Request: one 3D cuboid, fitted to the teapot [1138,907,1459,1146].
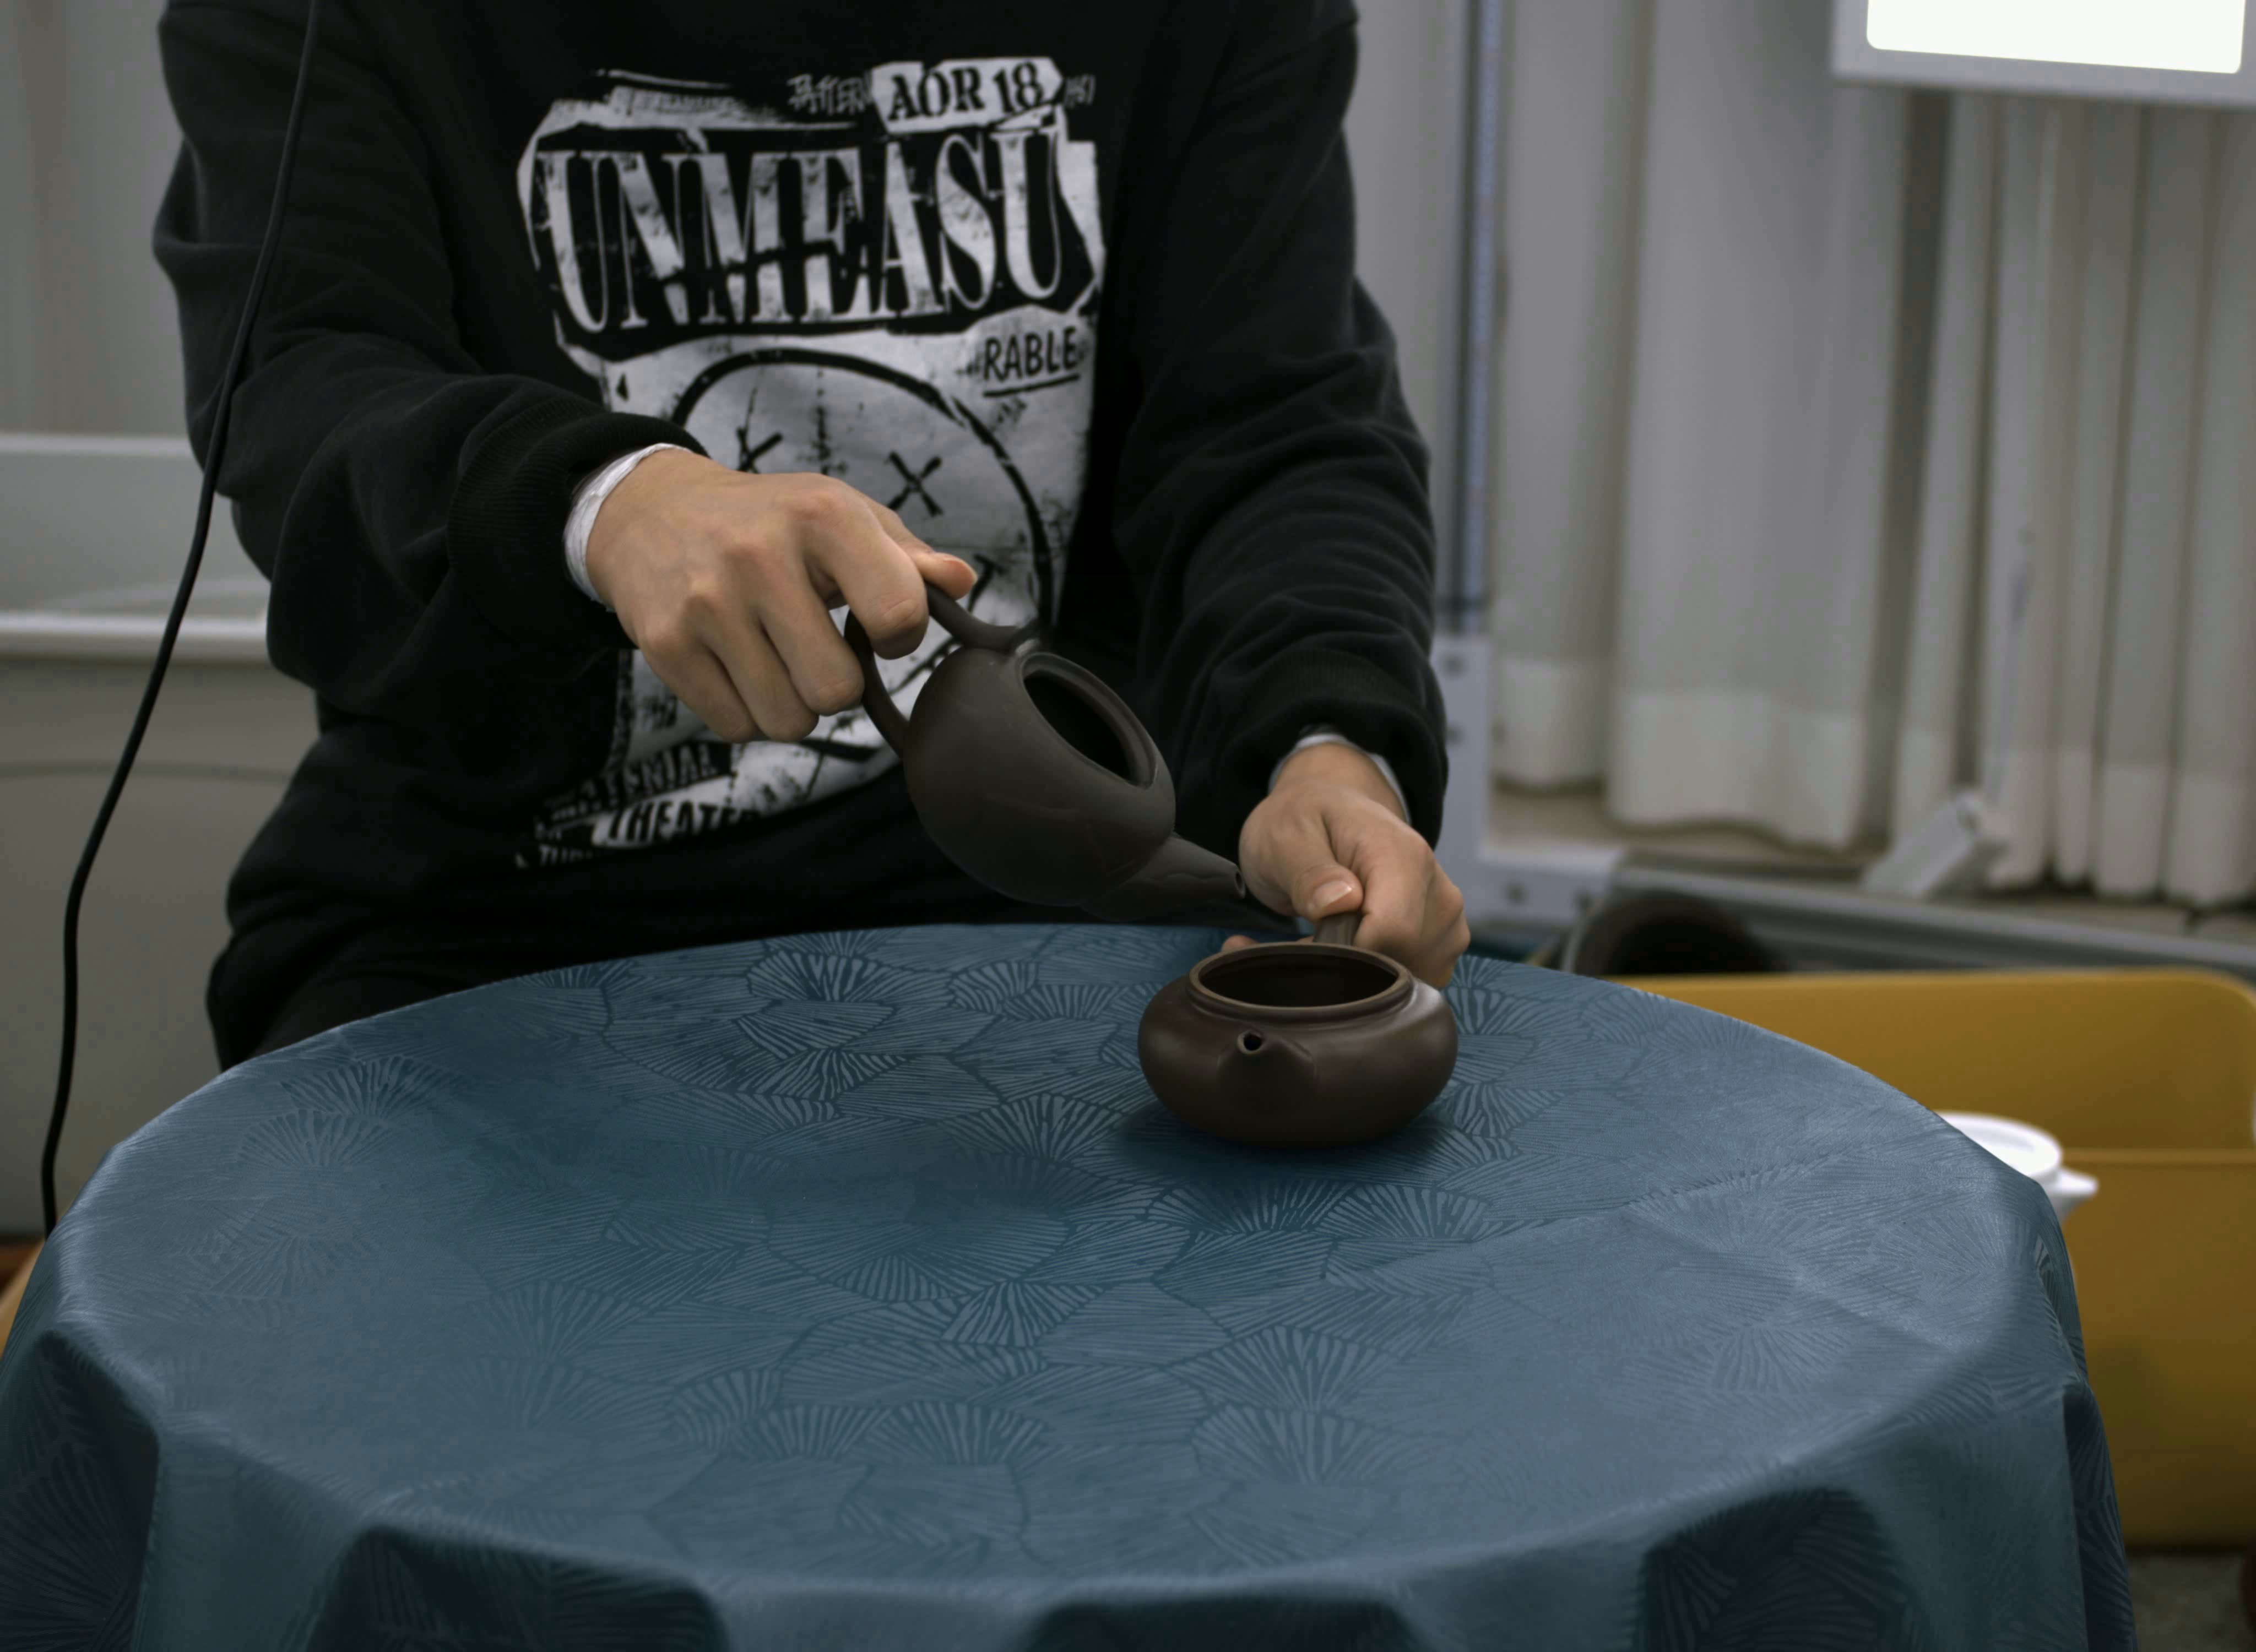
[{"bbox_3d":[0.055,0.065,1.685,0.102,0.054,0.153,5,19,7],"label":"teapot"}]

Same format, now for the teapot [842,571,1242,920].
[{"bbox_3d":[-0.032,-0.019,1.658,0.154,0.064,0.092,44,21,1],"label":"teapot"}]
